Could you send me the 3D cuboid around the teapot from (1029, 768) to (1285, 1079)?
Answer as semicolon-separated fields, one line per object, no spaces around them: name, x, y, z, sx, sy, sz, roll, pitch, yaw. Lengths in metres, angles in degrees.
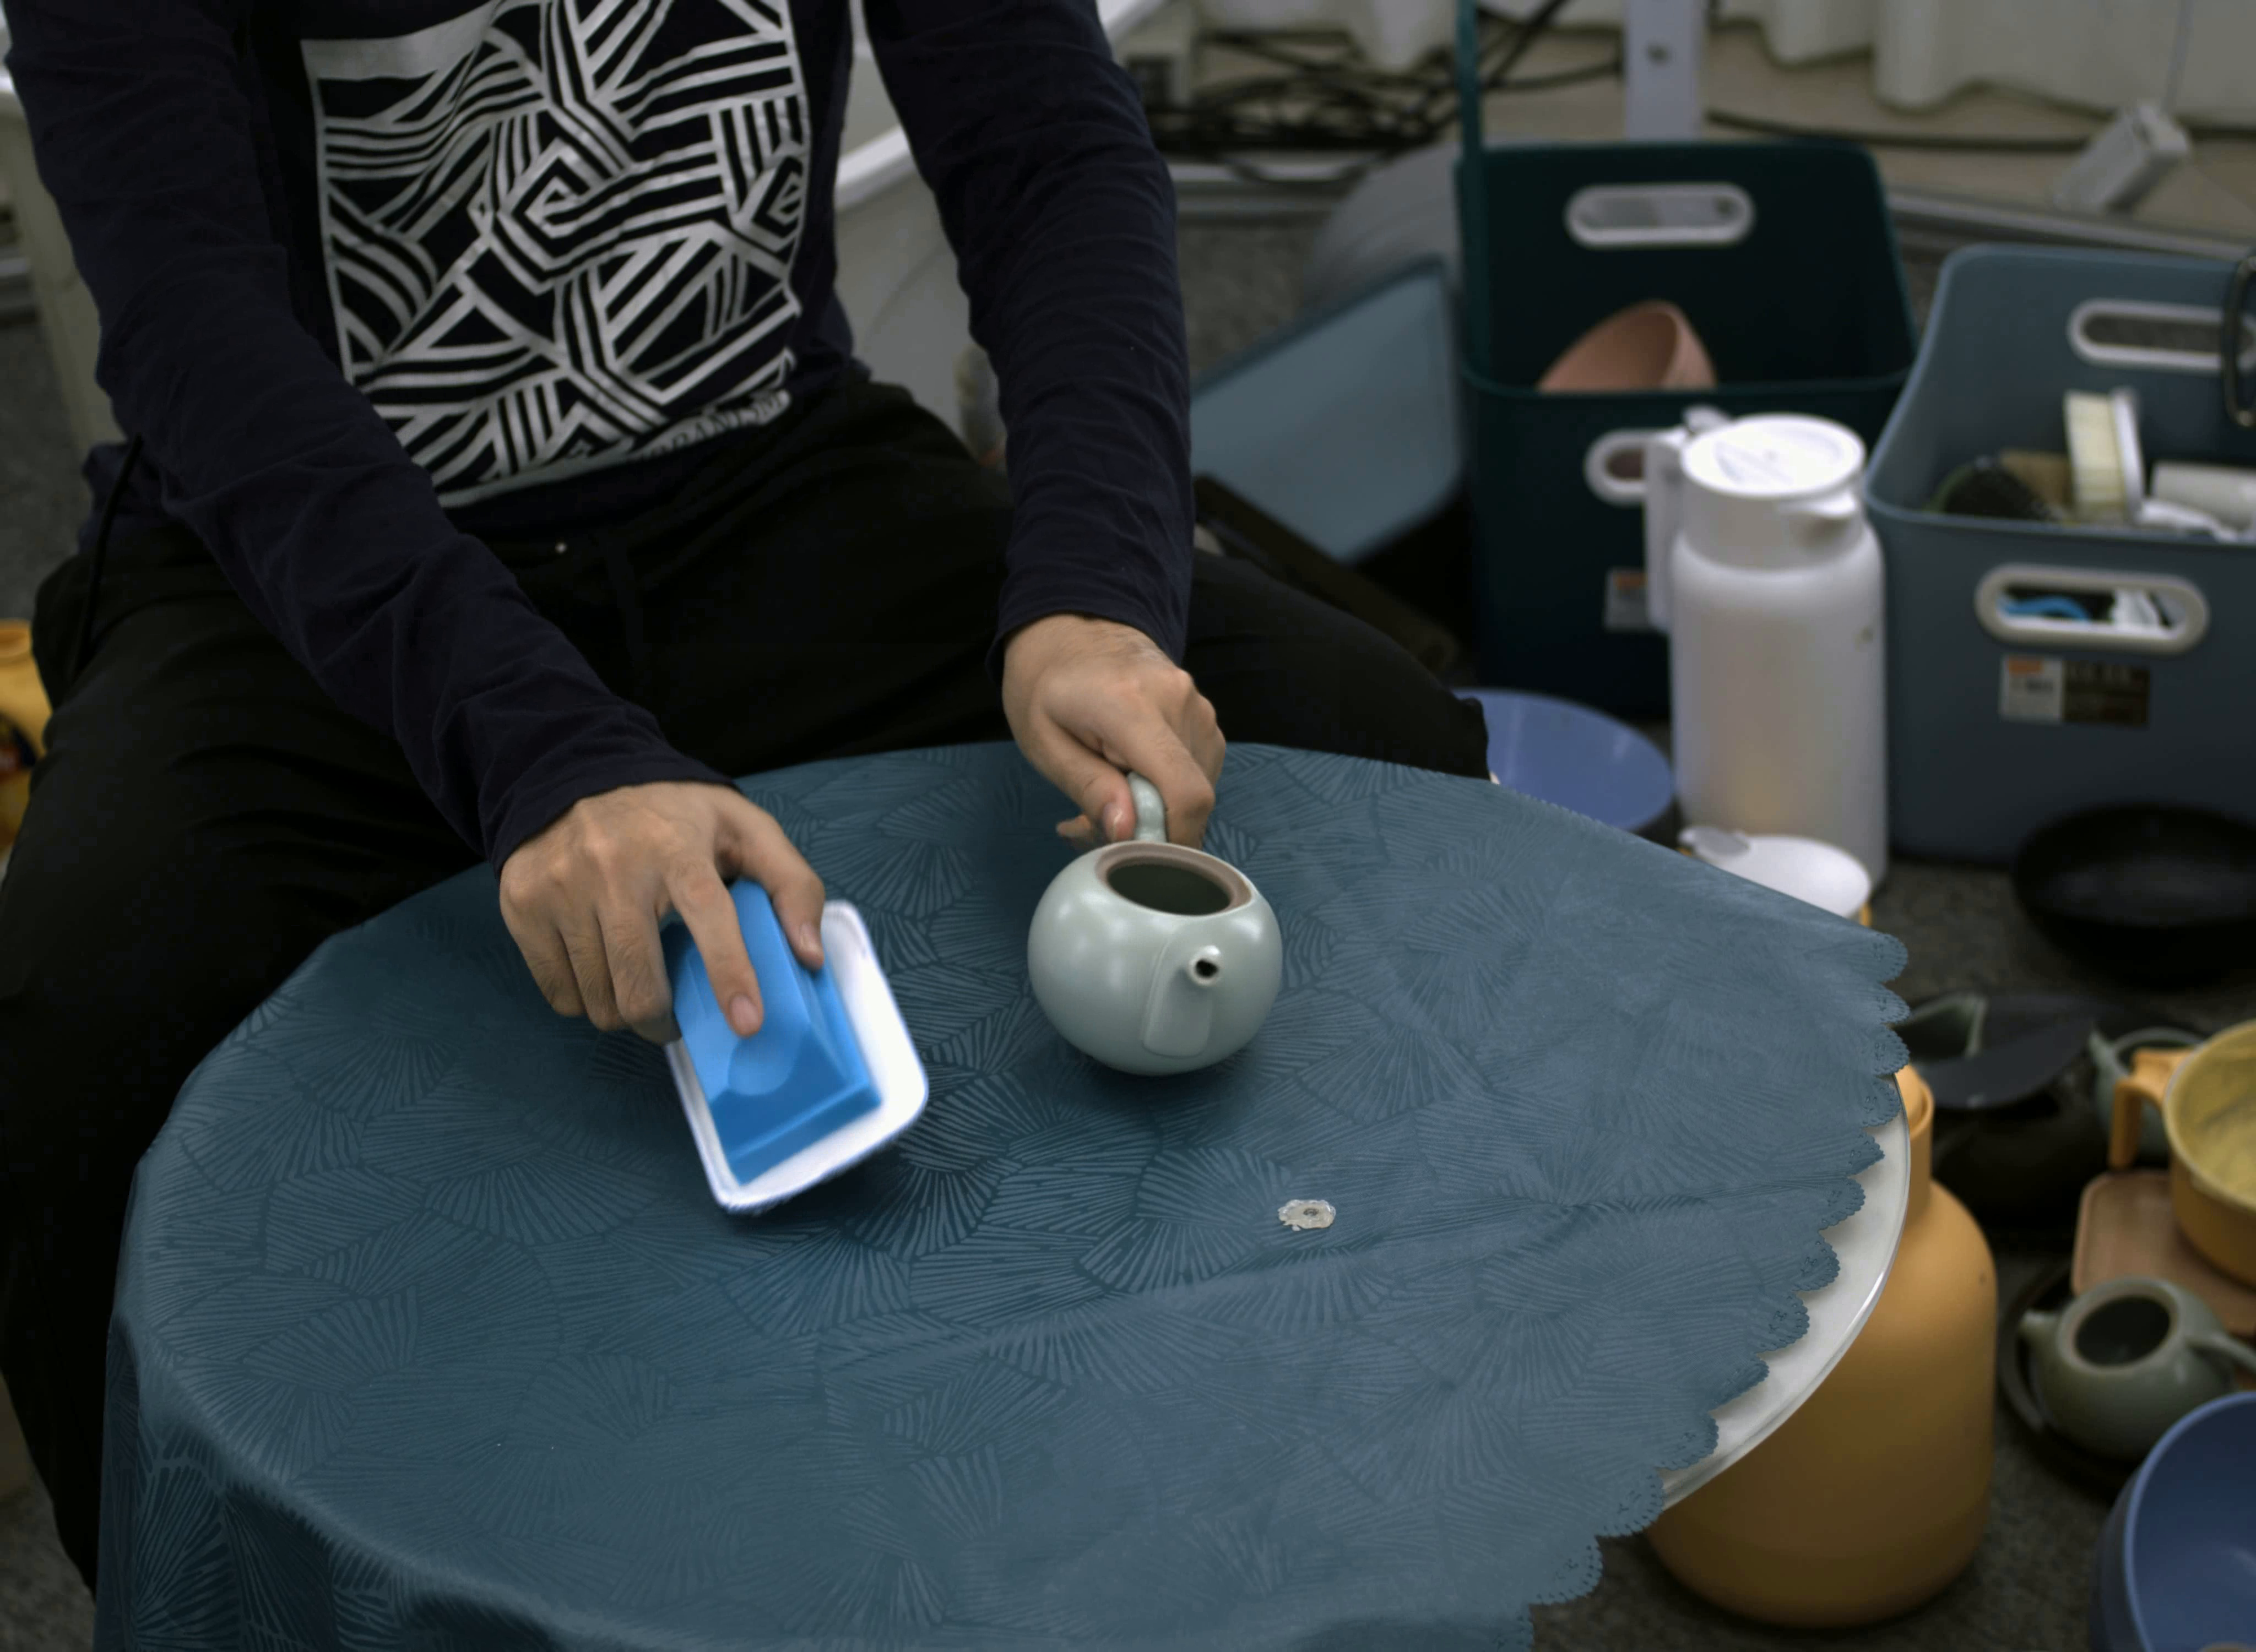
teapot;0.010;0.045;1.922;0.088;0.074;0.146;4;29;-10

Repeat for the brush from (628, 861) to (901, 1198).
brush;-0.127;0.062;1.890;0.083;0.055;0.146;-24;35;1
